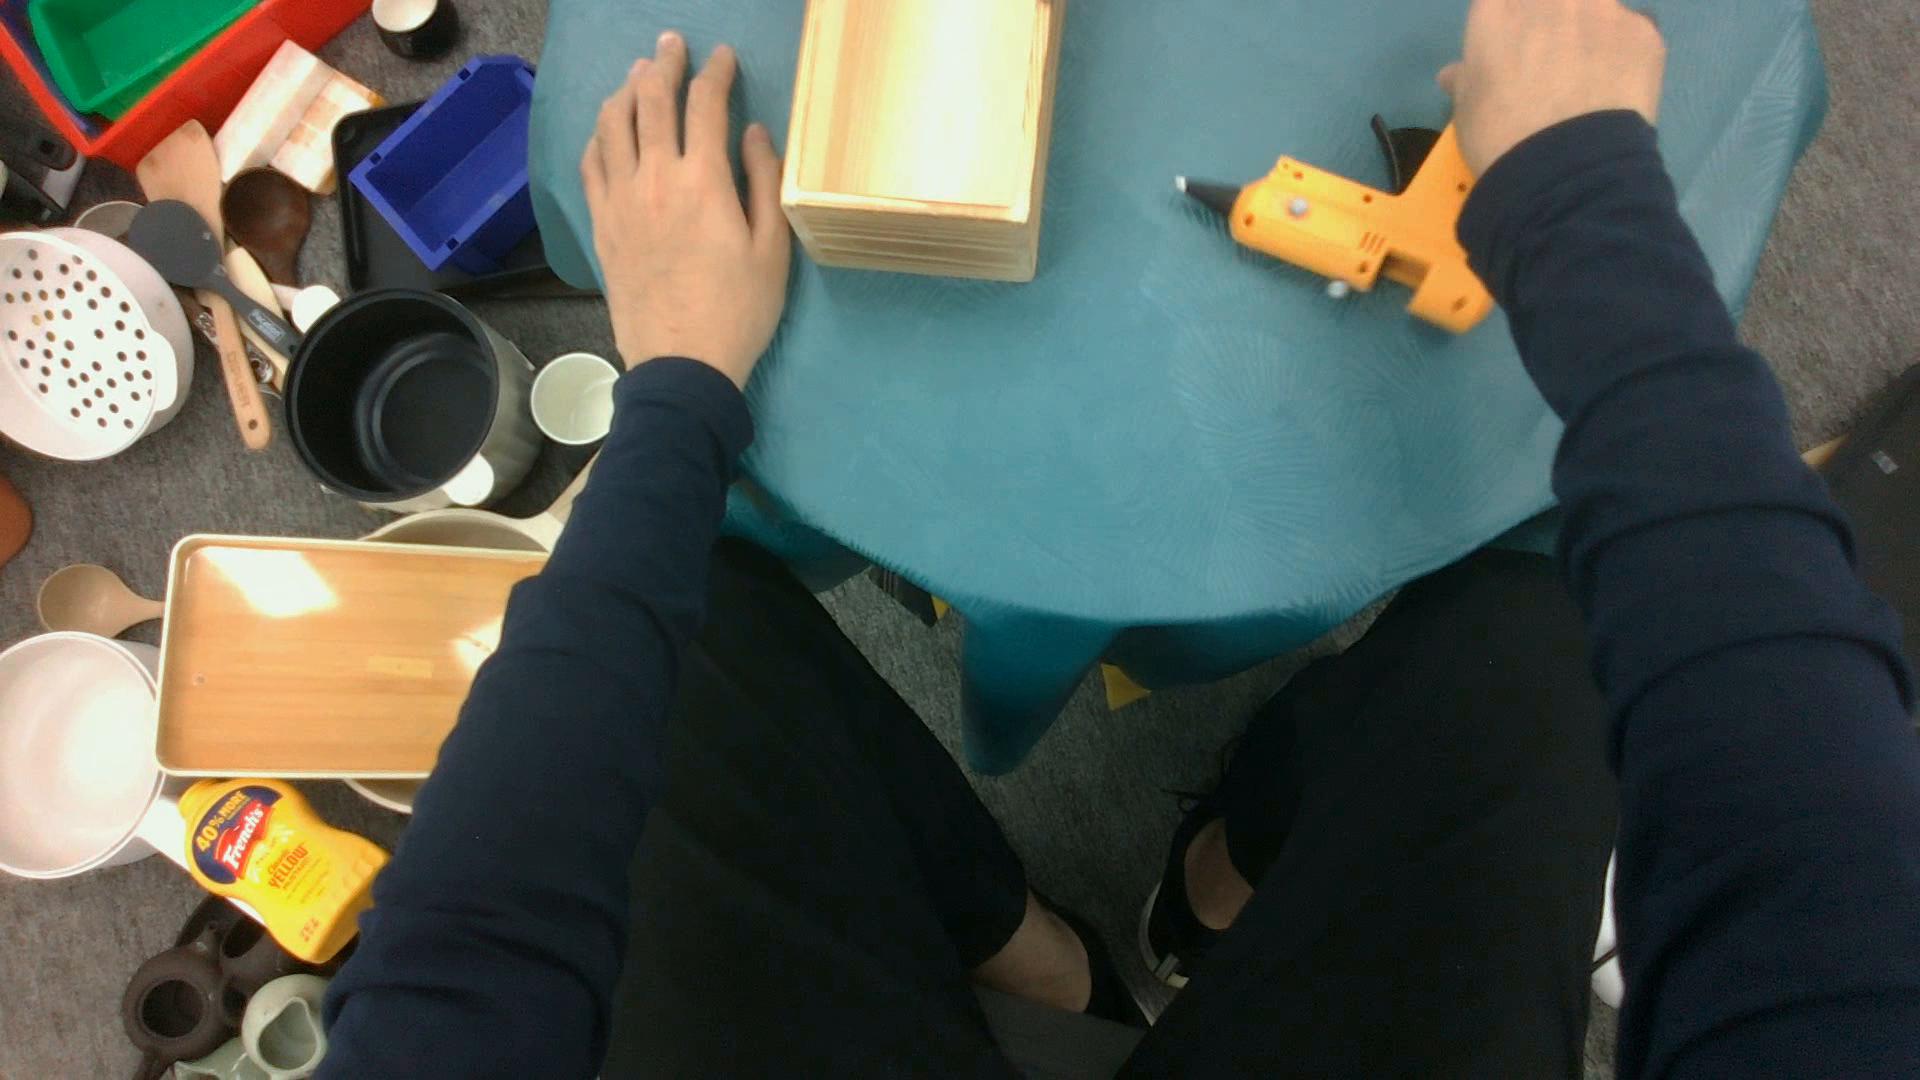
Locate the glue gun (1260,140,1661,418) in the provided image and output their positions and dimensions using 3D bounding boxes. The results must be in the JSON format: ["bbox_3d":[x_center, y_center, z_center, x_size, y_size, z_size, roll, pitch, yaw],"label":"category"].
[{"bbox_3d":[0.225,-0.145,0.637,0.151,0.031,0.133,29,82,11],"label":"glue gun"}]

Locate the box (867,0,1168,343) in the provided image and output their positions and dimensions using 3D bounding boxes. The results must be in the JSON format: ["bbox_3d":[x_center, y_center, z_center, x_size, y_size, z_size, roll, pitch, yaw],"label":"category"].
[{"bbox_3d":[0.034,-0.210,0.649,0.107,0.080,0.212,8,80,10],"label":"box"}]
